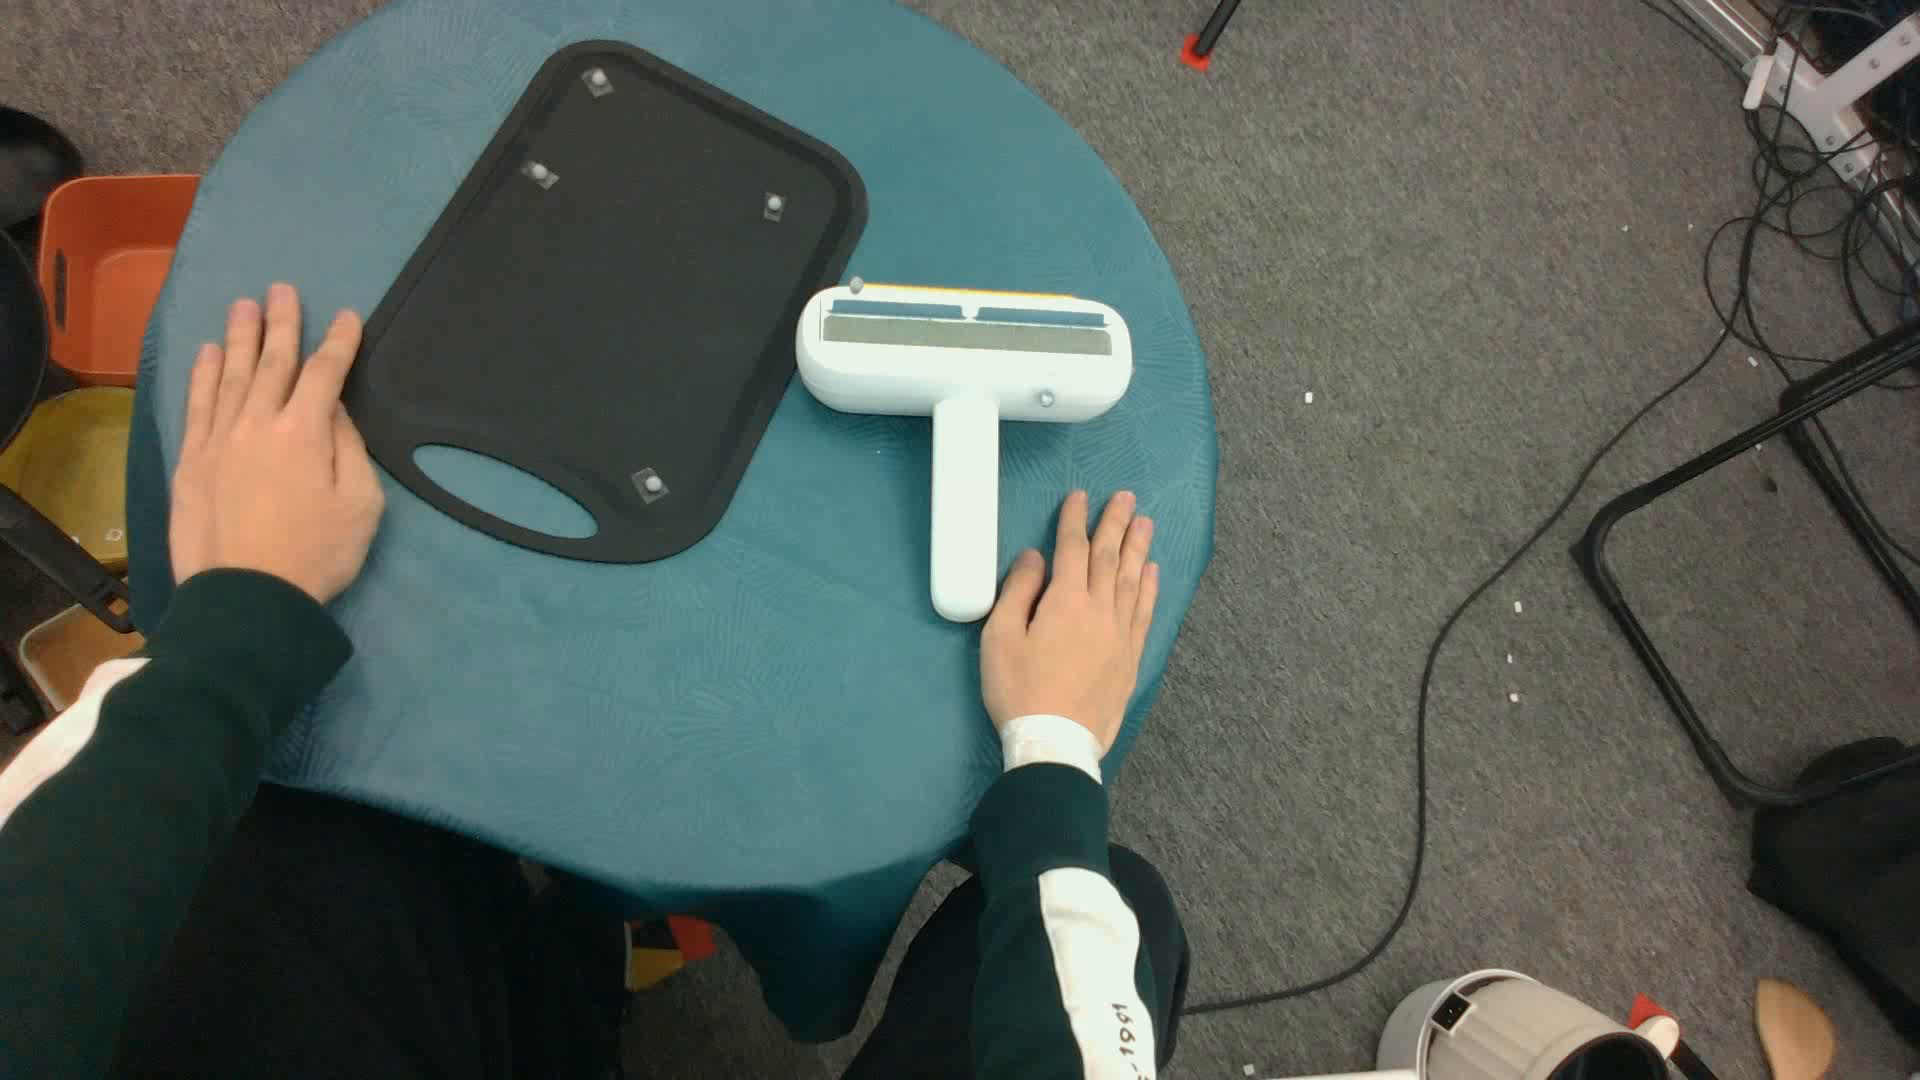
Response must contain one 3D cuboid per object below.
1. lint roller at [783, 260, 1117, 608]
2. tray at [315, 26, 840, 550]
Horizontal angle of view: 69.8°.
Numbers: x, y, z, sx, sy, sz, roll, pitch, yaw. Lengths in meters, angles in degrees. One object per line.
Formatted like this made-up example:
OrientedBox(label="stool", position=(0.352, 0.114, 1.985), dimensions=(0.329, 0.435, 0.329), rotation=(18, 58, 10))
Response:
OrientedBox(label="lint roller", position=(-0.013, -0.058, 0.795), dimensions=(0.193, 0.074, 0.192), rotation=(7, 81, -10))
OrientedBox(label="tray", position=(-0.205, -0.148, 0.777), dimensions=(0.211, 0.010, 0.327), rotation=(25, 63, -8))
